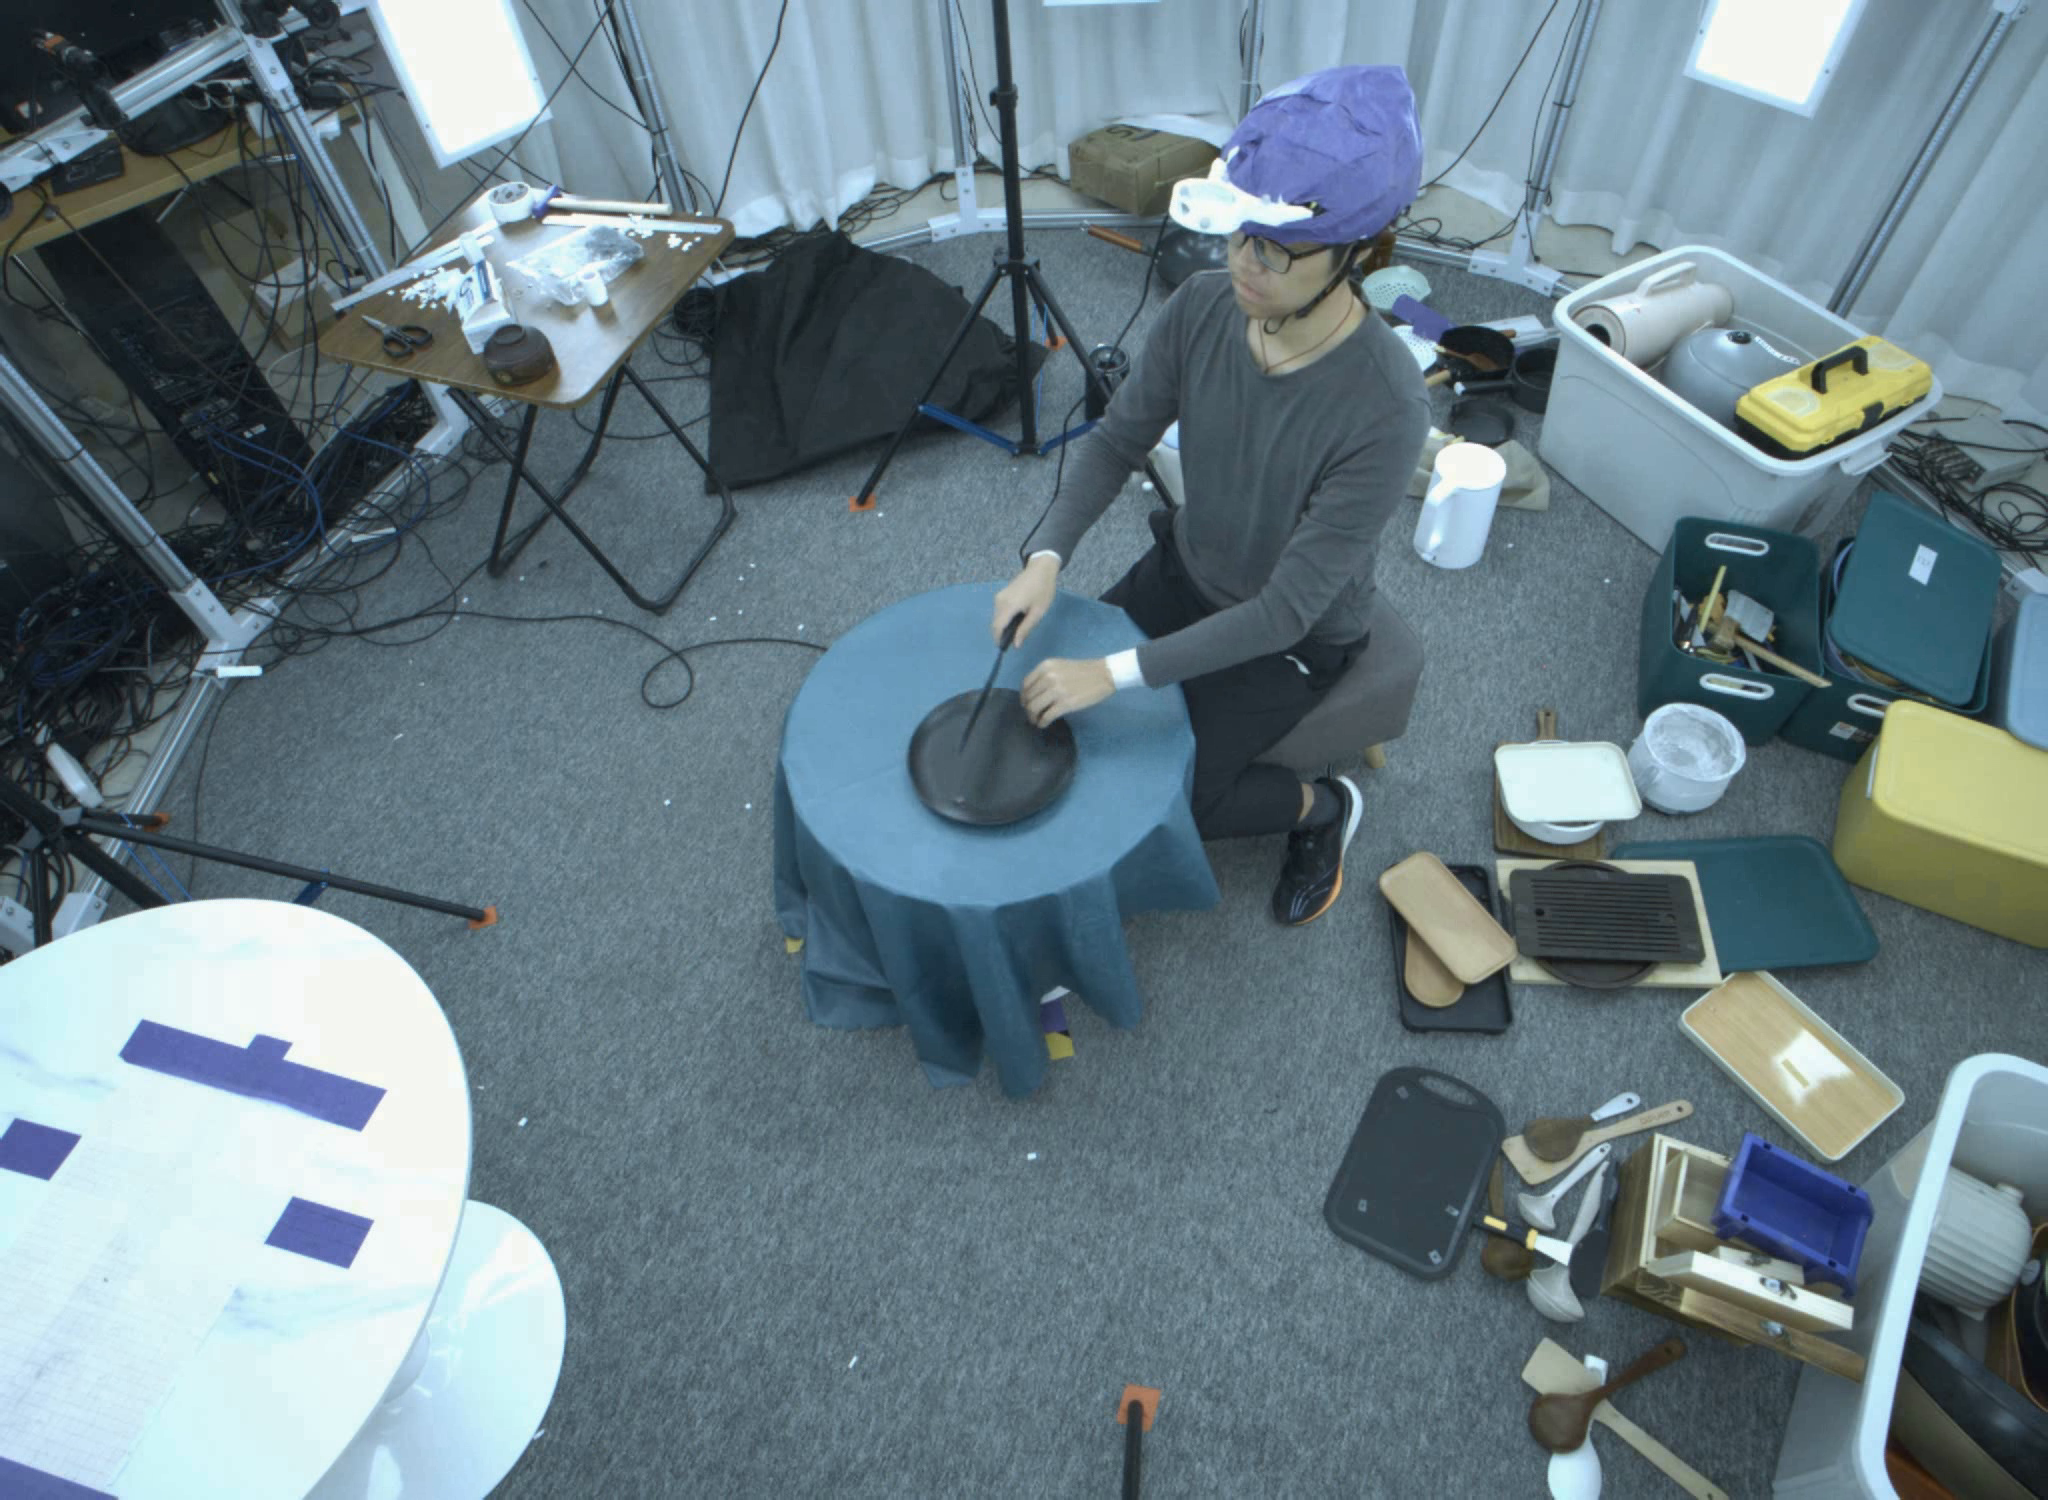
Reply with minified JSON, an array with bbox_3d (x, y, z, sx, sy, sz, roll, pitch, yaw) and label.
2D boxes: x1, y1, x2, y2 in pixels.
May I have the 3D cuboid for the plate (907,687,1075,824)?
[{"bbox_3d":[-0.048,0.009,1.776,0.244,0.023,0.242,0,54,1],"label":"plate"}]

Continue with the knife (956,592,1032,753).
[{"bbox_3d":[-0.044,-0.120,1.767,0.021,0.081,0.301,20,55,3],"label":"knife"}]
